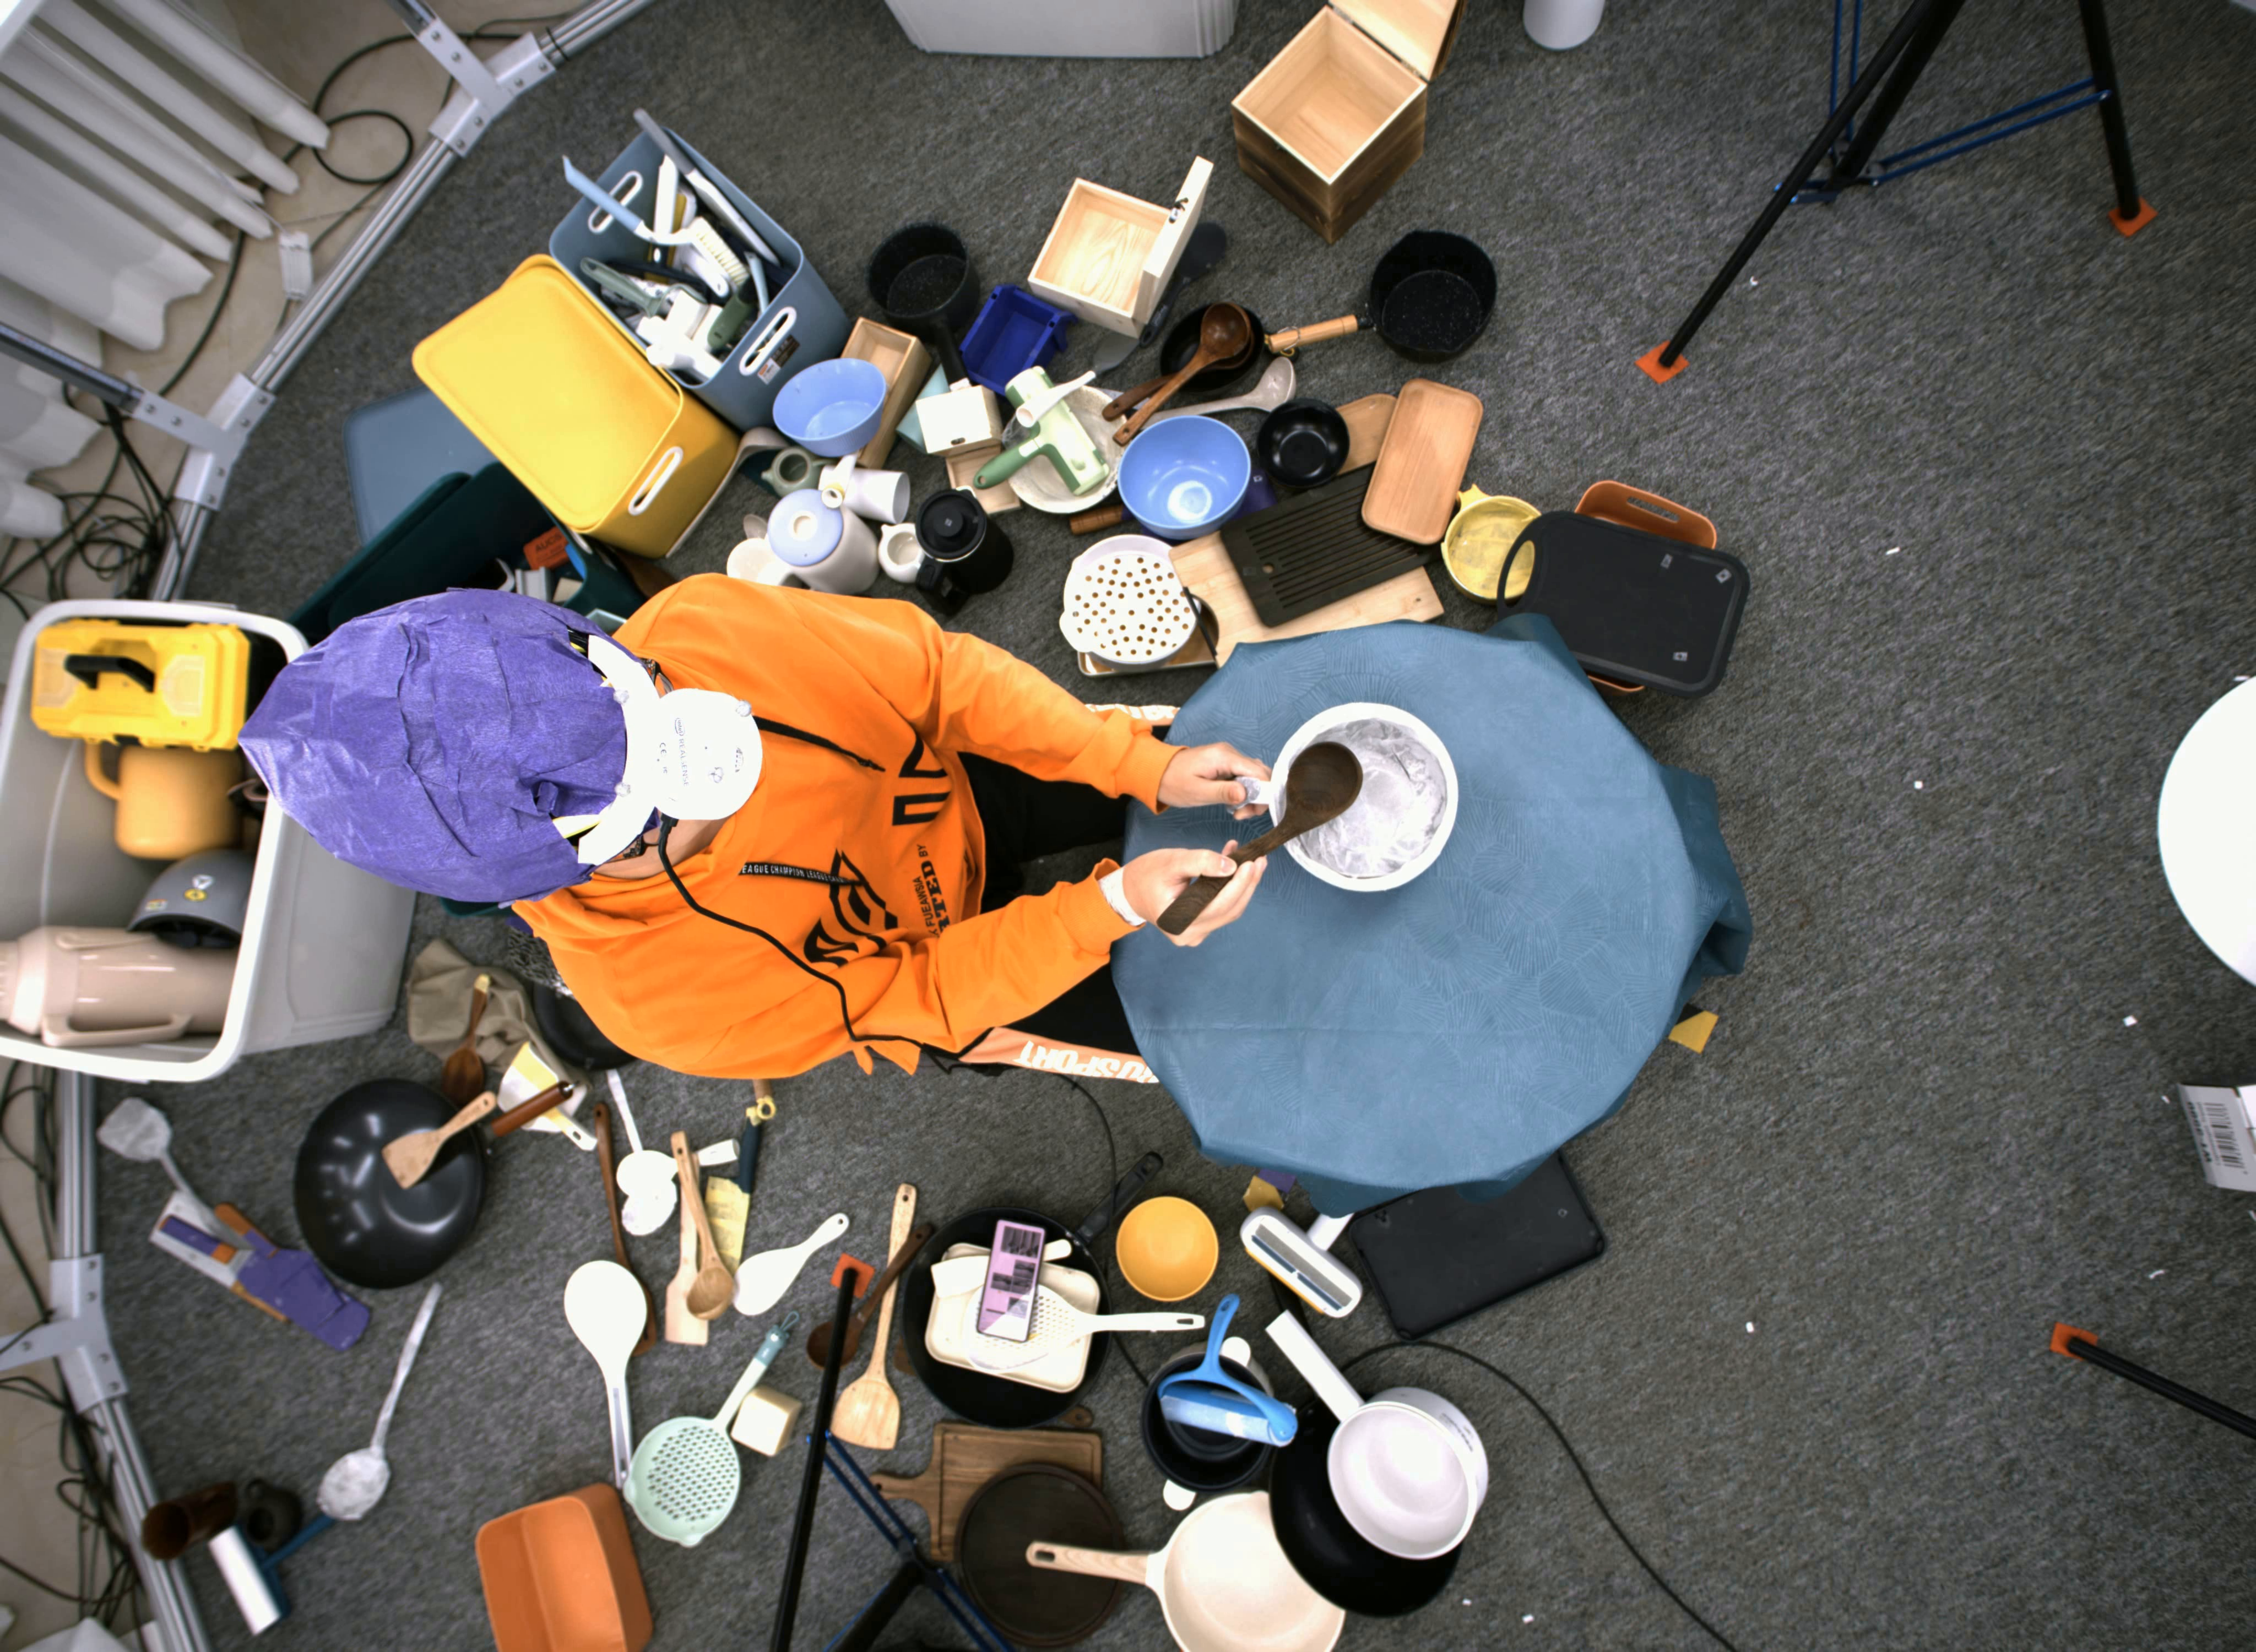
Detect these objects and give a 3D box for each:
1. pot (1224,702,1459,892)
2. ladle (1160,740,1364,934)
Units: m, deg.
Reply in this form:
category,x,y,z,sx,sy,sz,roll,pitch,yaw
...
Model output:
category,x,y,z,sx,sy,sz,roll,pitch,yaw
pot,0.207,-0.026,1.367,0.234,0.136,0.178,2,87,12
ladle,0.120,0.003,1.248,0.076,0.268,0.073,22,131,35
